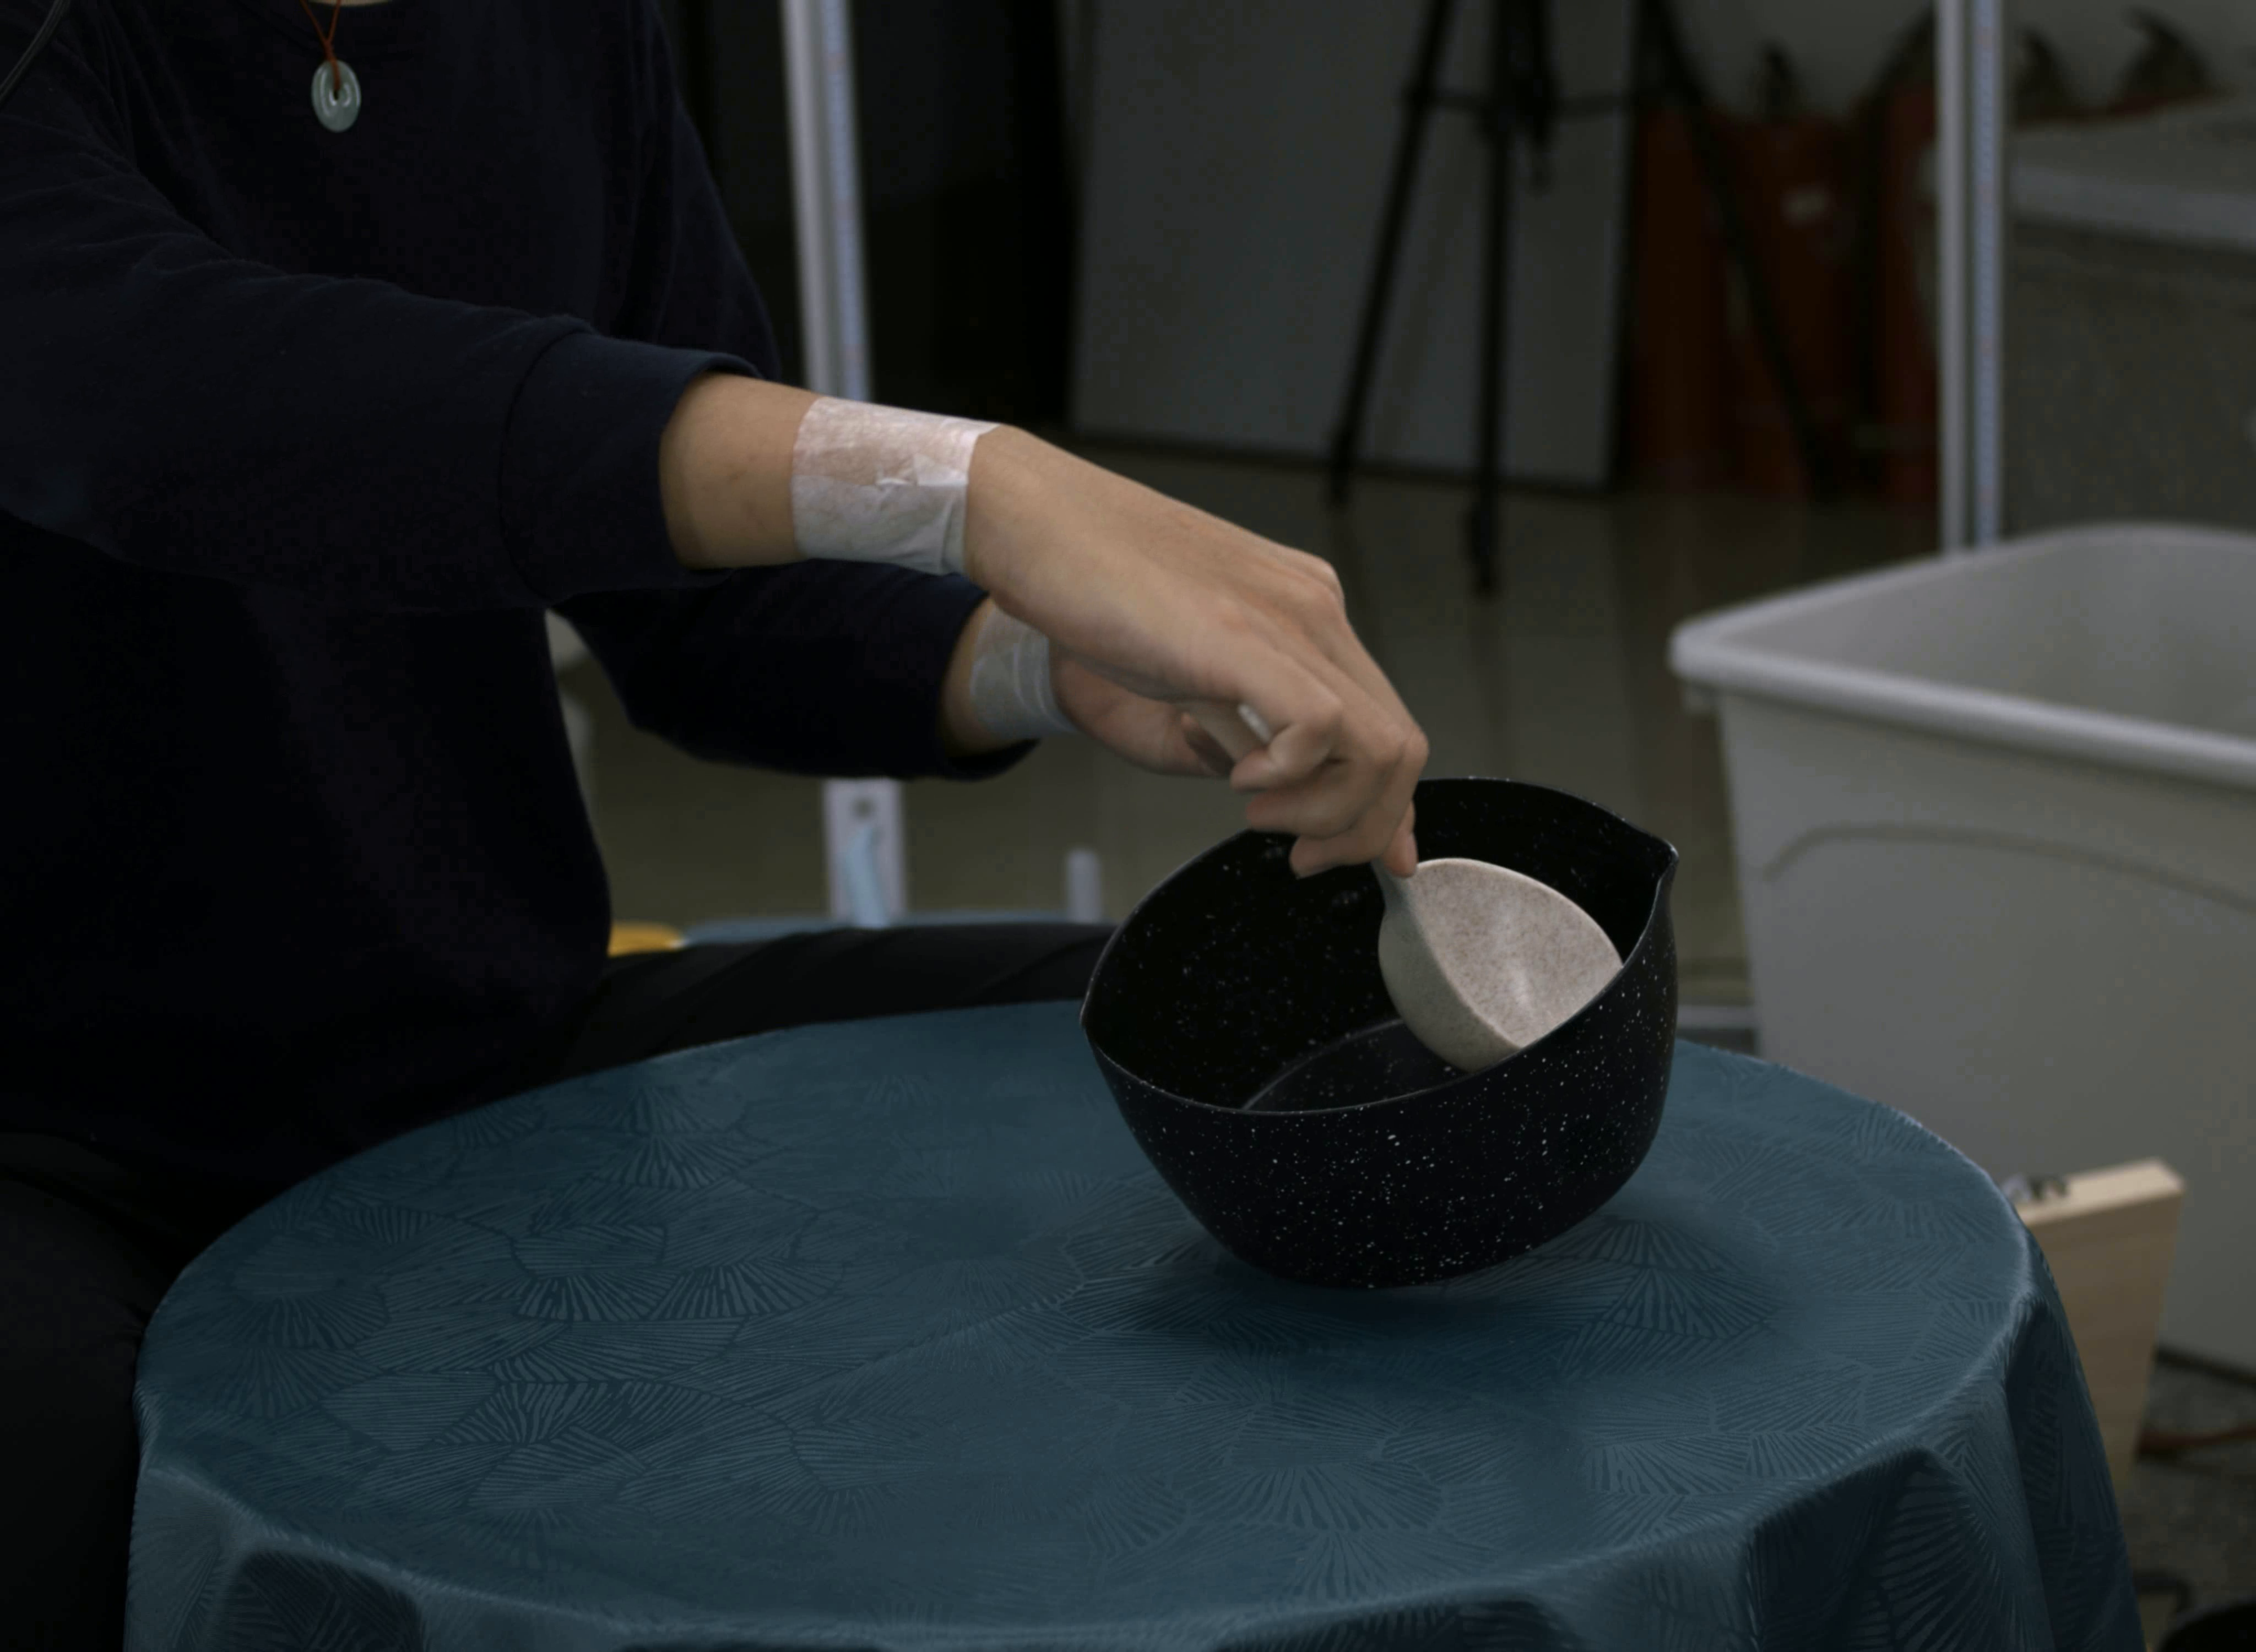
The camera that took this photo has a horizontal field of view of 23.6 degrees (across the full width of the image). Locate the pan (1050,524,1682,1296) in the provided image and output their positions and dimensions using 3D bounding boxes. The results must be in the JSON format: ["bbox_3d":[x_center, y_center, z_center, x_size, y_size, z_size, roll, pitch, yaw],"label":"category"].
[{"bbox_3d":[0.069,0.021,1.759,0.205,0.108,0.346,-20,31,0],"label":"pan"}]

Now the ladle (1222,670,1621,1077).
[{"bbox_3d":[0.087,-0.001,1.545,0.069,0.090,0.273,-34,-28,-1],"label":"ladle"}]
